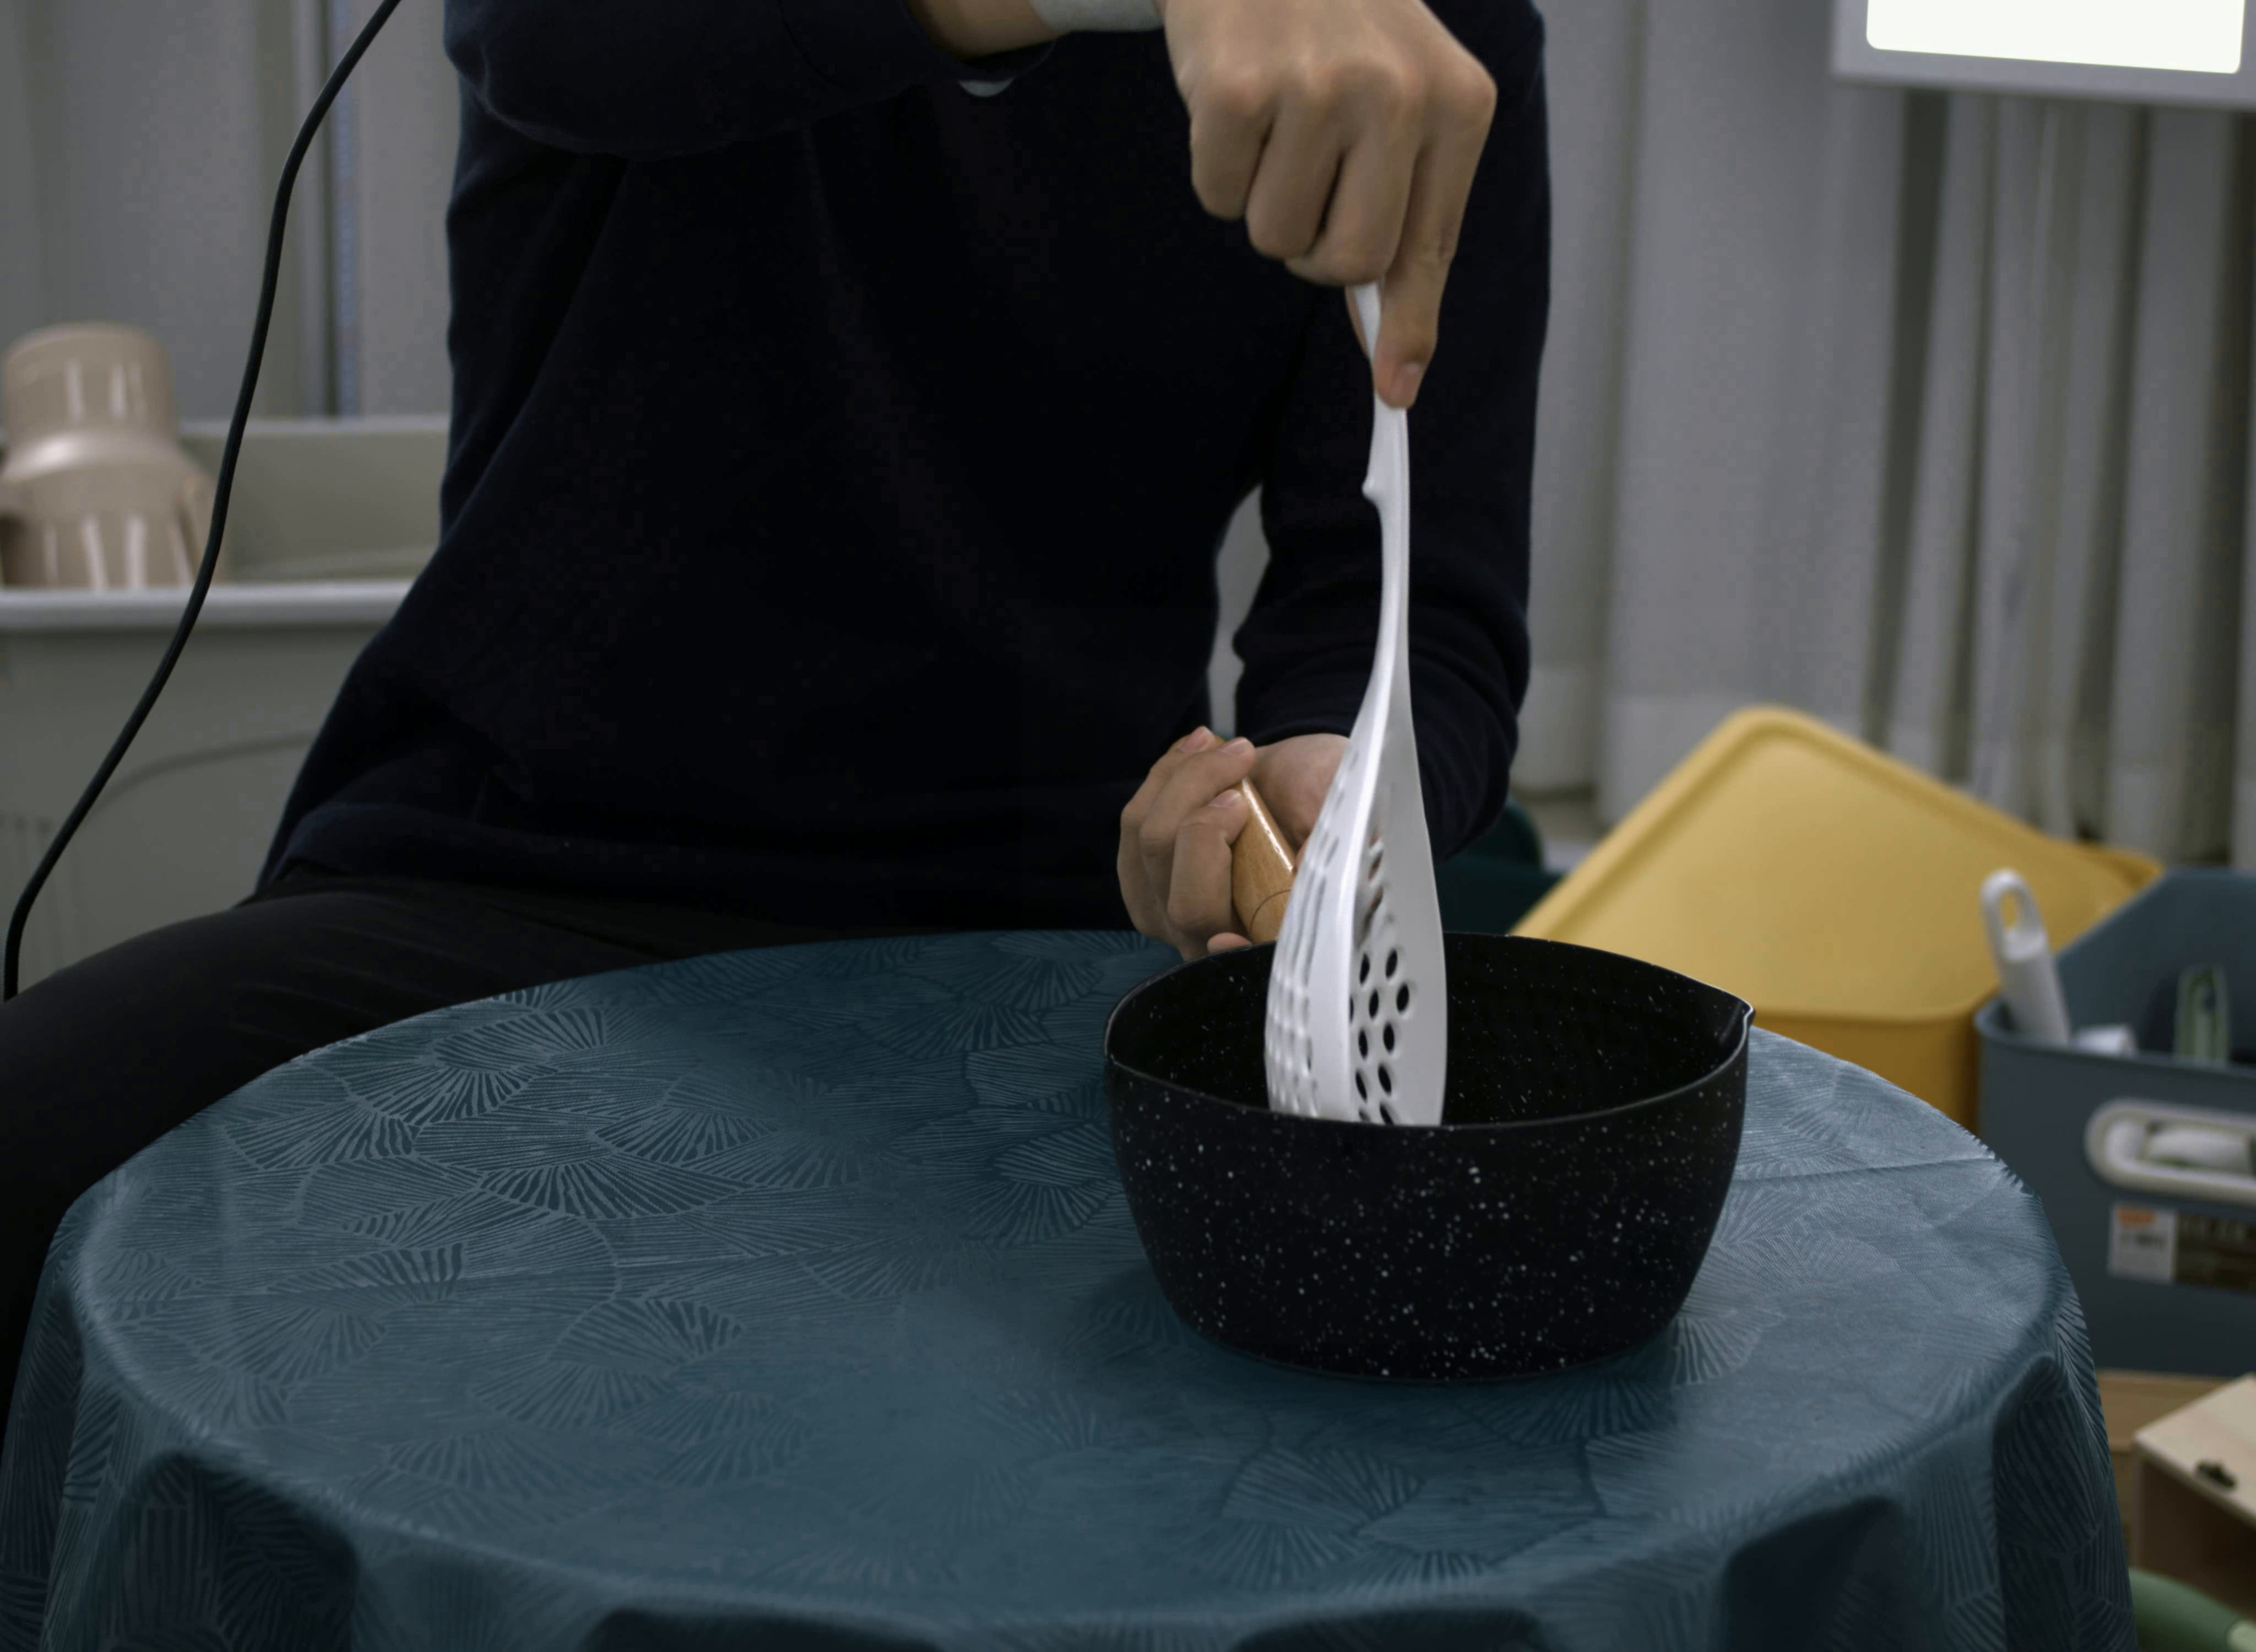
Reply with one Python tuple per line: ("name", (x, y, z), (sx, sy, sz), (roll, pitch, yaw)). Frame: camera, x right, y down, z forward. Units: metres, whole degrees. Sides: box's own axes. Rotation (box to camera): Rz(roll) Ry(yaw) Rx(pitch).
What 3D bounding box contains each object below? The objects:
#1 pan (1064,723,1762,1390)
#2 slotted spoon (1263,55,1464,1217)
("pan", (0.064, 0.064, 1.594), (0.208, 0.109, 0.339), (-5, 18, -15))
("slotted spoon", (0.065, -0.040, 1.479), (0.050, 0.351, 0.137), (6, 16, 14))
